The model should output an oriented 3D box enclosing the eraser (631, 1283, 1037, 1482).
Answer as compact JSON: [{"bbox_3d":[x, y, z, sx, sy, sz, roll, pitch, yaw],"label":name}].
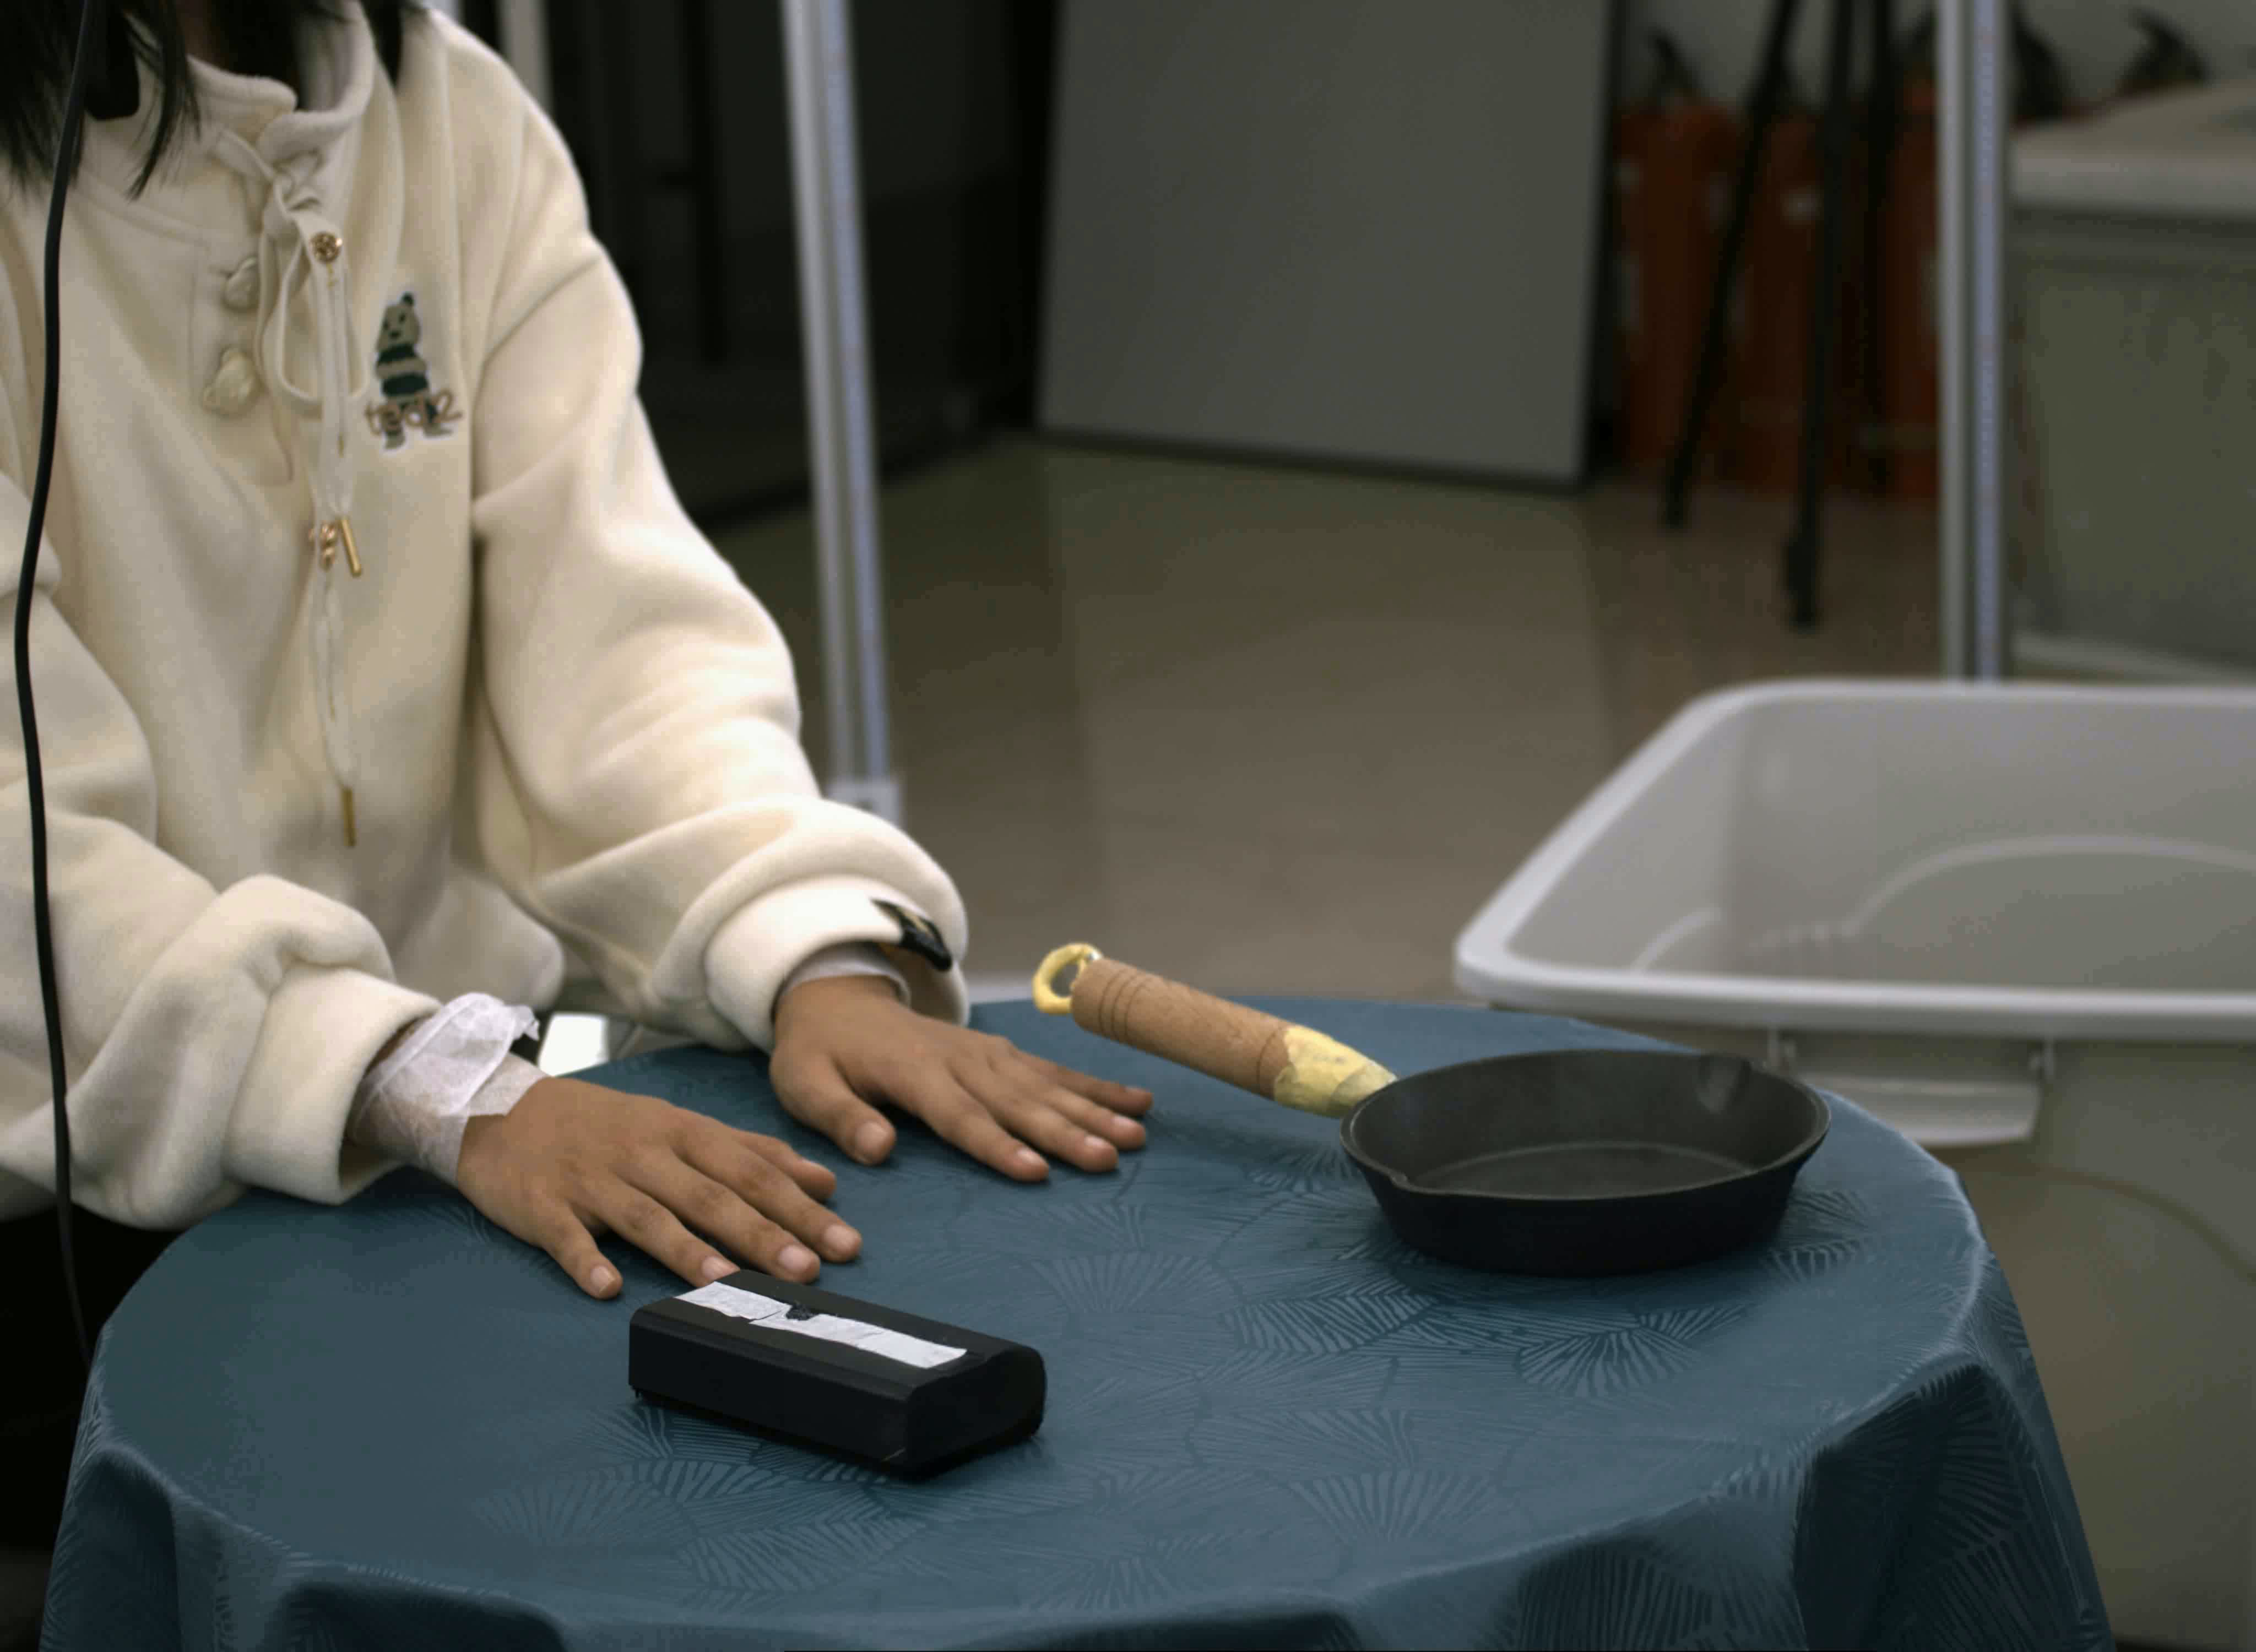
[{"bbox_3d":[-0.085,0.161,1.576,0.052,0.031,0.127,-16,17,-42],"label":"eraser"}]

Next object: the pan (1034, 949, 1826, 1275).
[{"bbox_3d":[0.086,0.088,1.769,0.165,0.050,0.327,-18,20,-40],"label":"pan"}]
